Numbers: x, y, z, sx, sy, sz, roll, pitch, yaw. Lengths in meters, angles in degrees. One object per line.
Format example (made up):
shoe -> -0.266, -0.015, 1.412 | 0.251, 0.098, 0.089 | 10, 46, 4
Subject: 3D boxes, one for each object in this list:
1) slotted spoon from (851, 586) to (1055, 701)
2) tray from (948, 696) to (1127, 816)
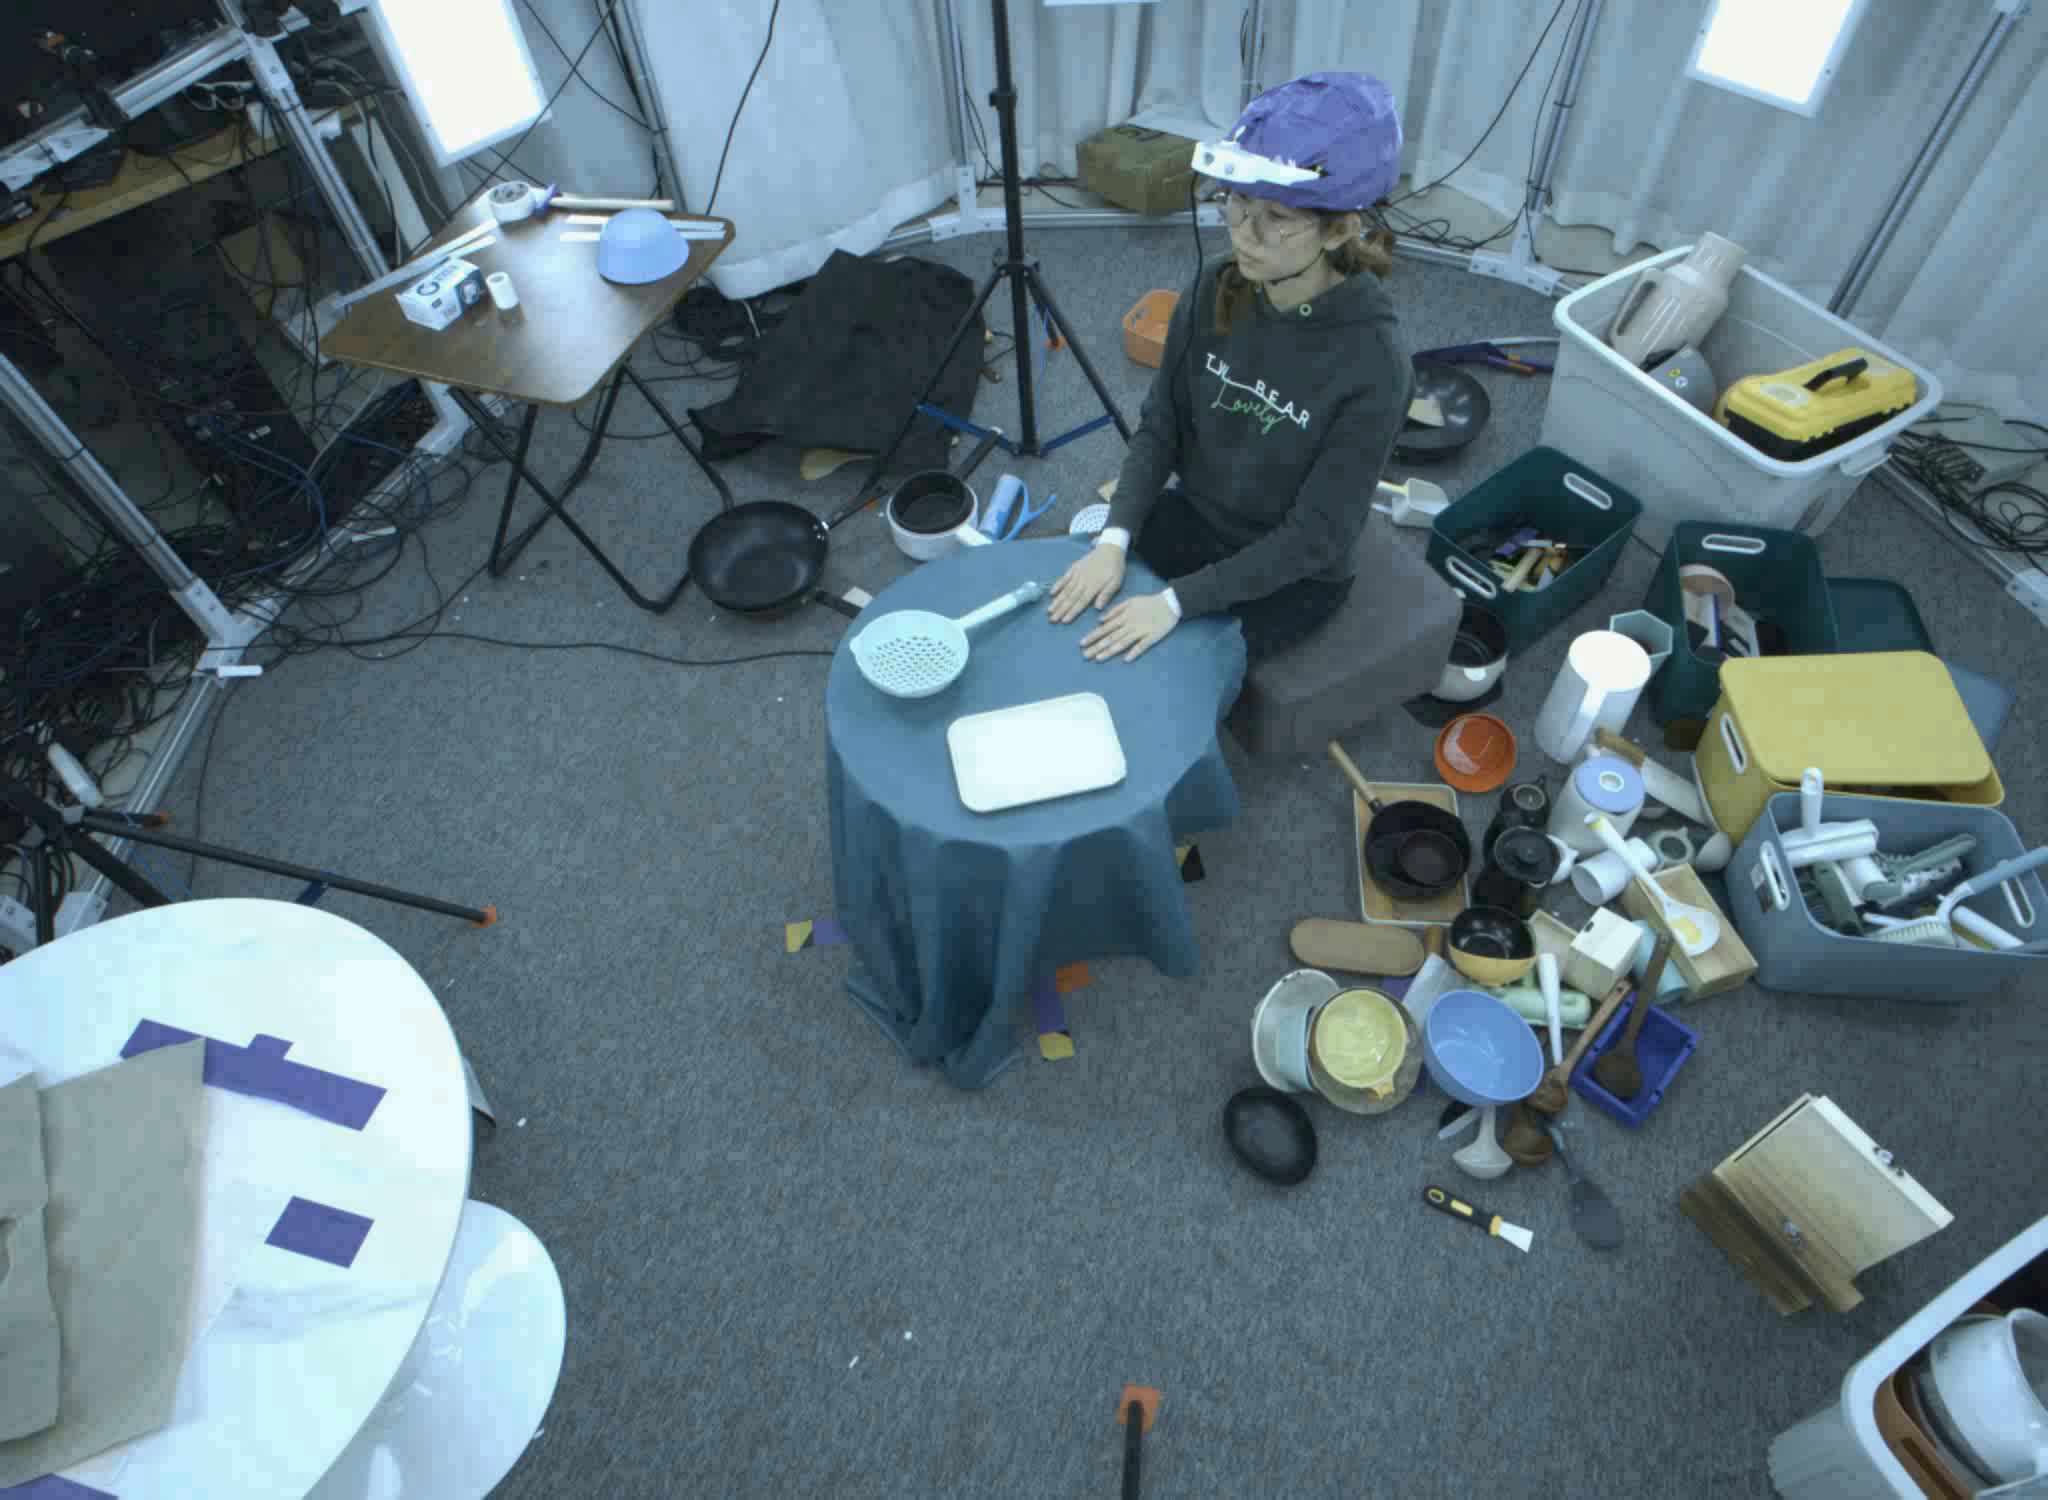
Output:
slotted spoon -> -0.092, -0.183, 1.890 | 0.361, 0.076, 0.166 | -35, 62, -21
tray -> 0.018, 0.009, 1.781 | 0.241, 0.017, 0.168 | -11, 56, -7
